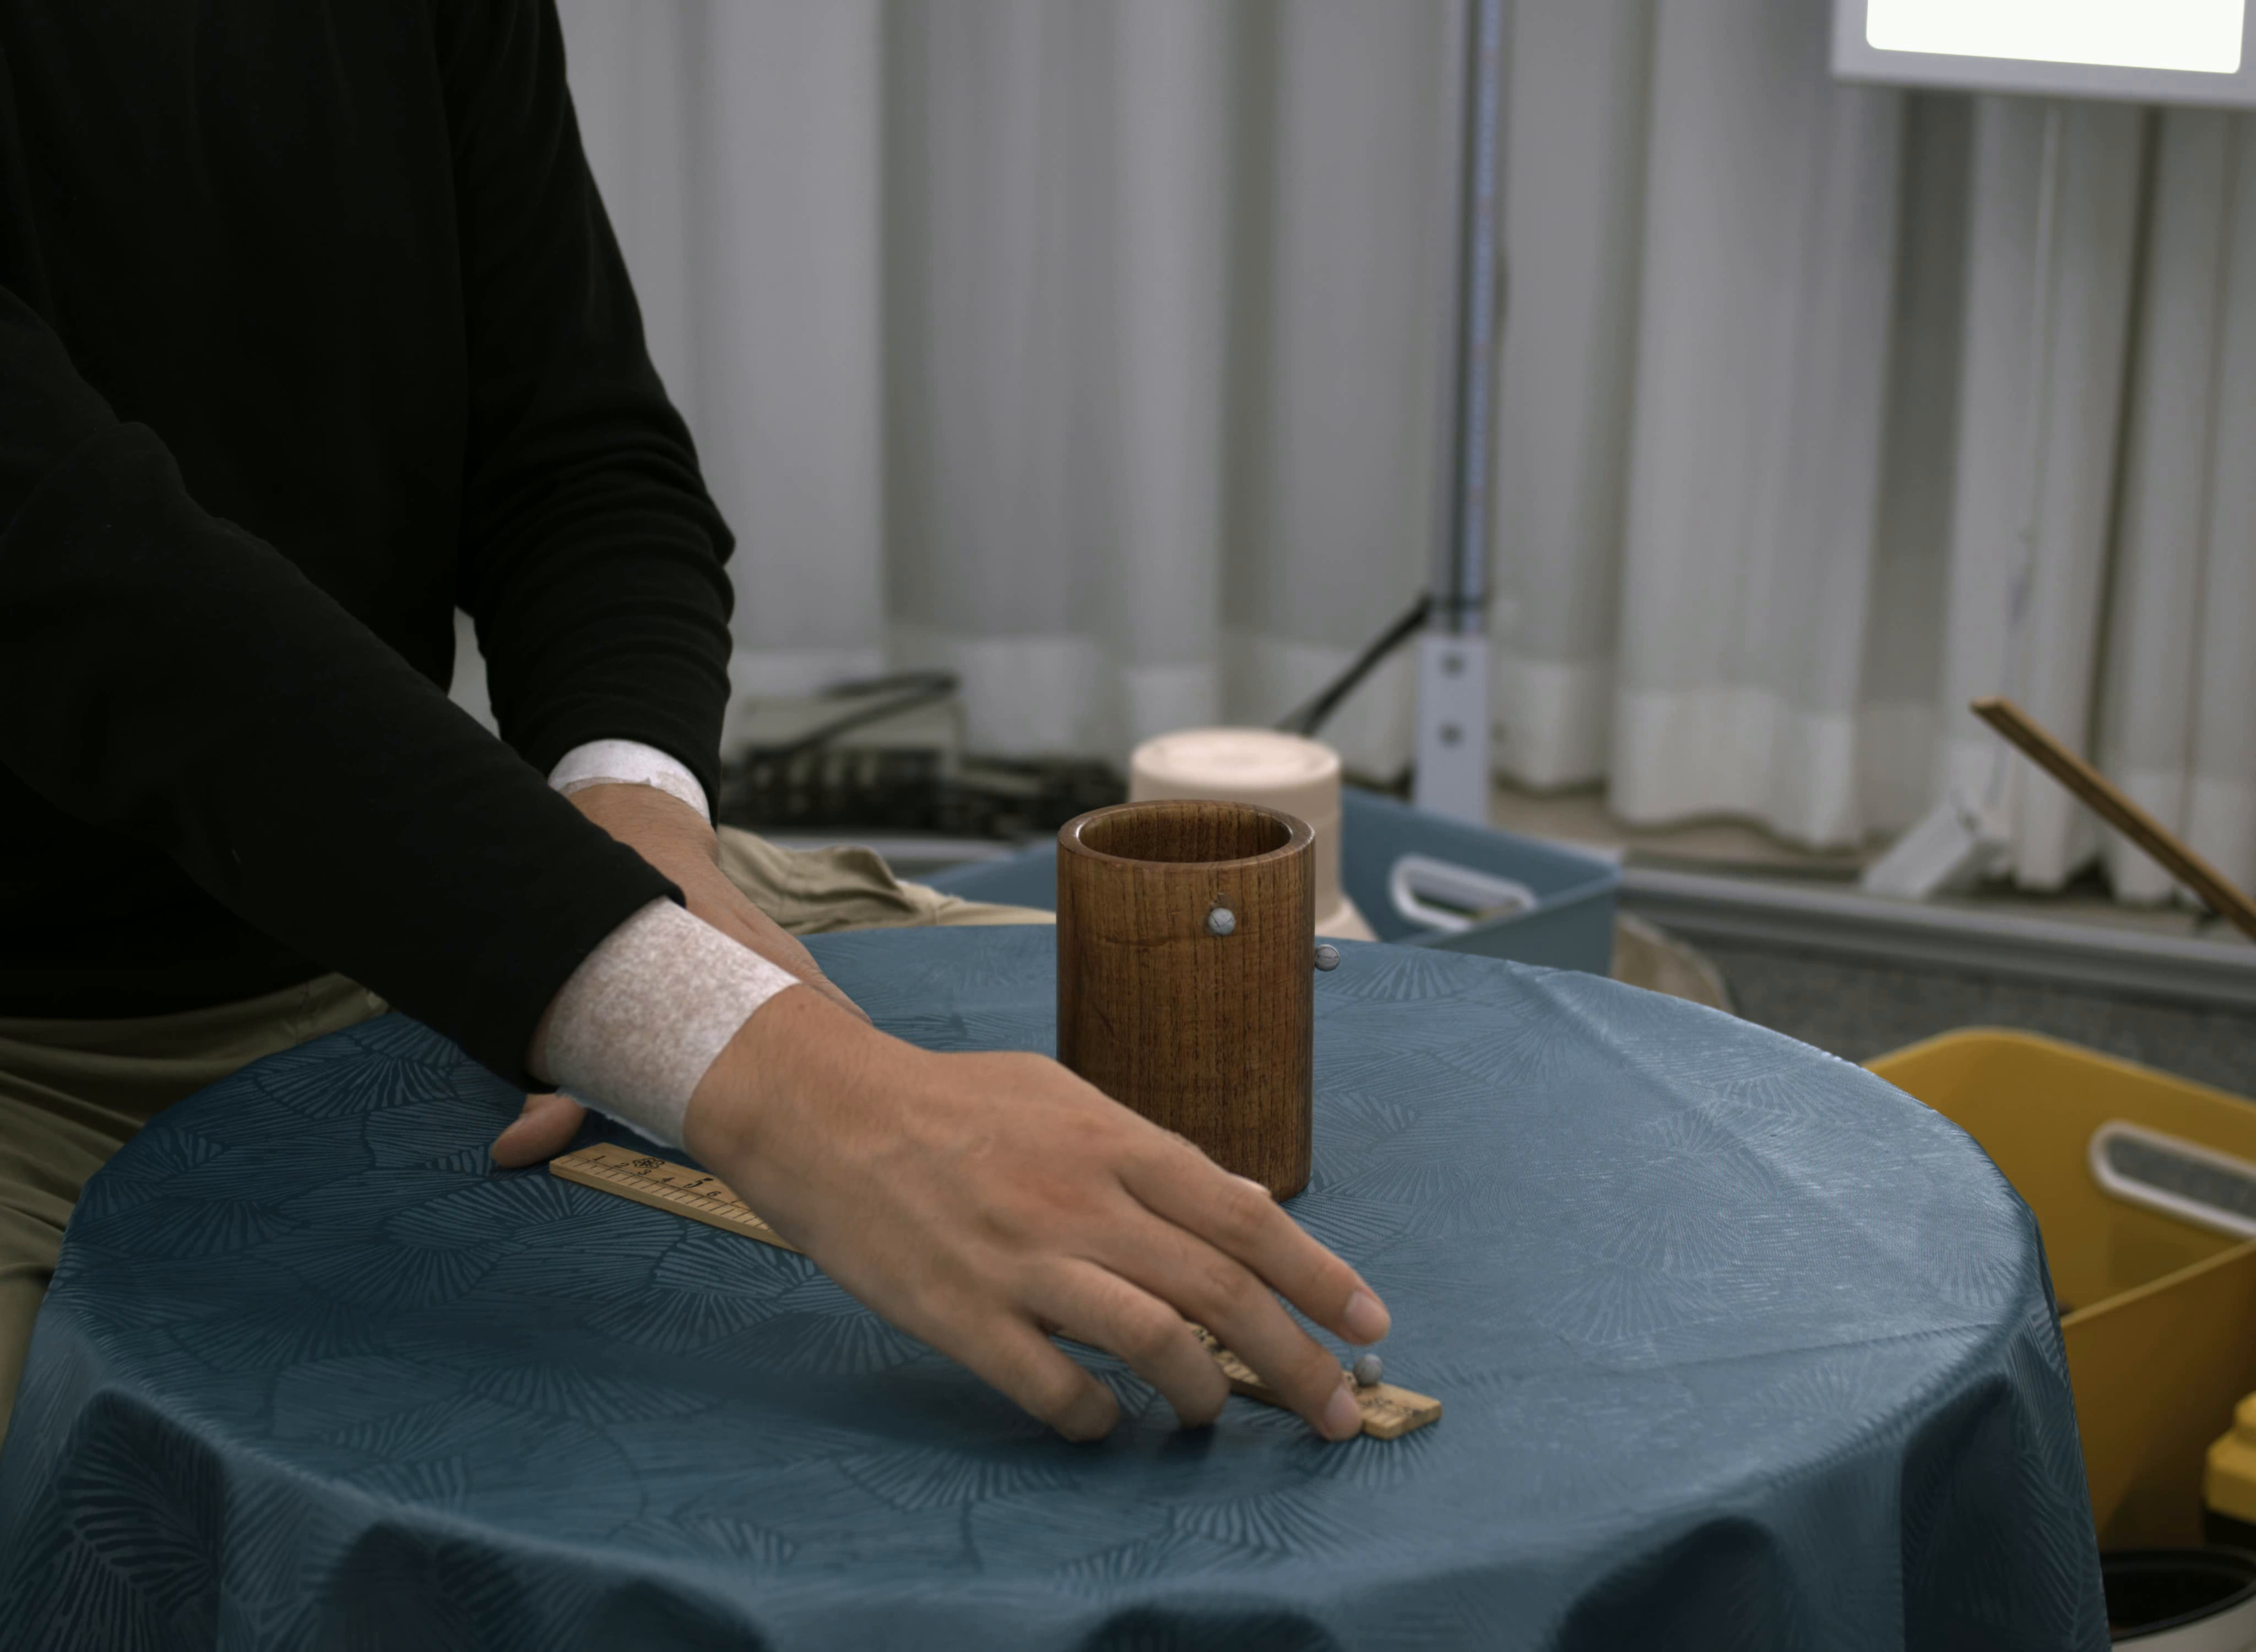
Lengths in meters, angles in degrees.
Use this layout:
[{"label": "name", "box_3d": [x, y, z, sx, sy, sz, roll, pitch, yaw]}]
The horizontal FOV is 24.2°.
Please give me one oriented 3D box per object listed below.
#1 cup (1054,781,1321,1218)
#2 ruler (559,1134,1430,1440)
[{"label": "cup", "box_3d": [0.018, 0.053, 1.618, 0.087, 0.119, 0.087, 1, 15, 0]}, {"label": "ruler", "box_3d": [-0.047, 0.130, 1.537, 0.327, 0.022, 0.027, 14, 13, 40]}]
